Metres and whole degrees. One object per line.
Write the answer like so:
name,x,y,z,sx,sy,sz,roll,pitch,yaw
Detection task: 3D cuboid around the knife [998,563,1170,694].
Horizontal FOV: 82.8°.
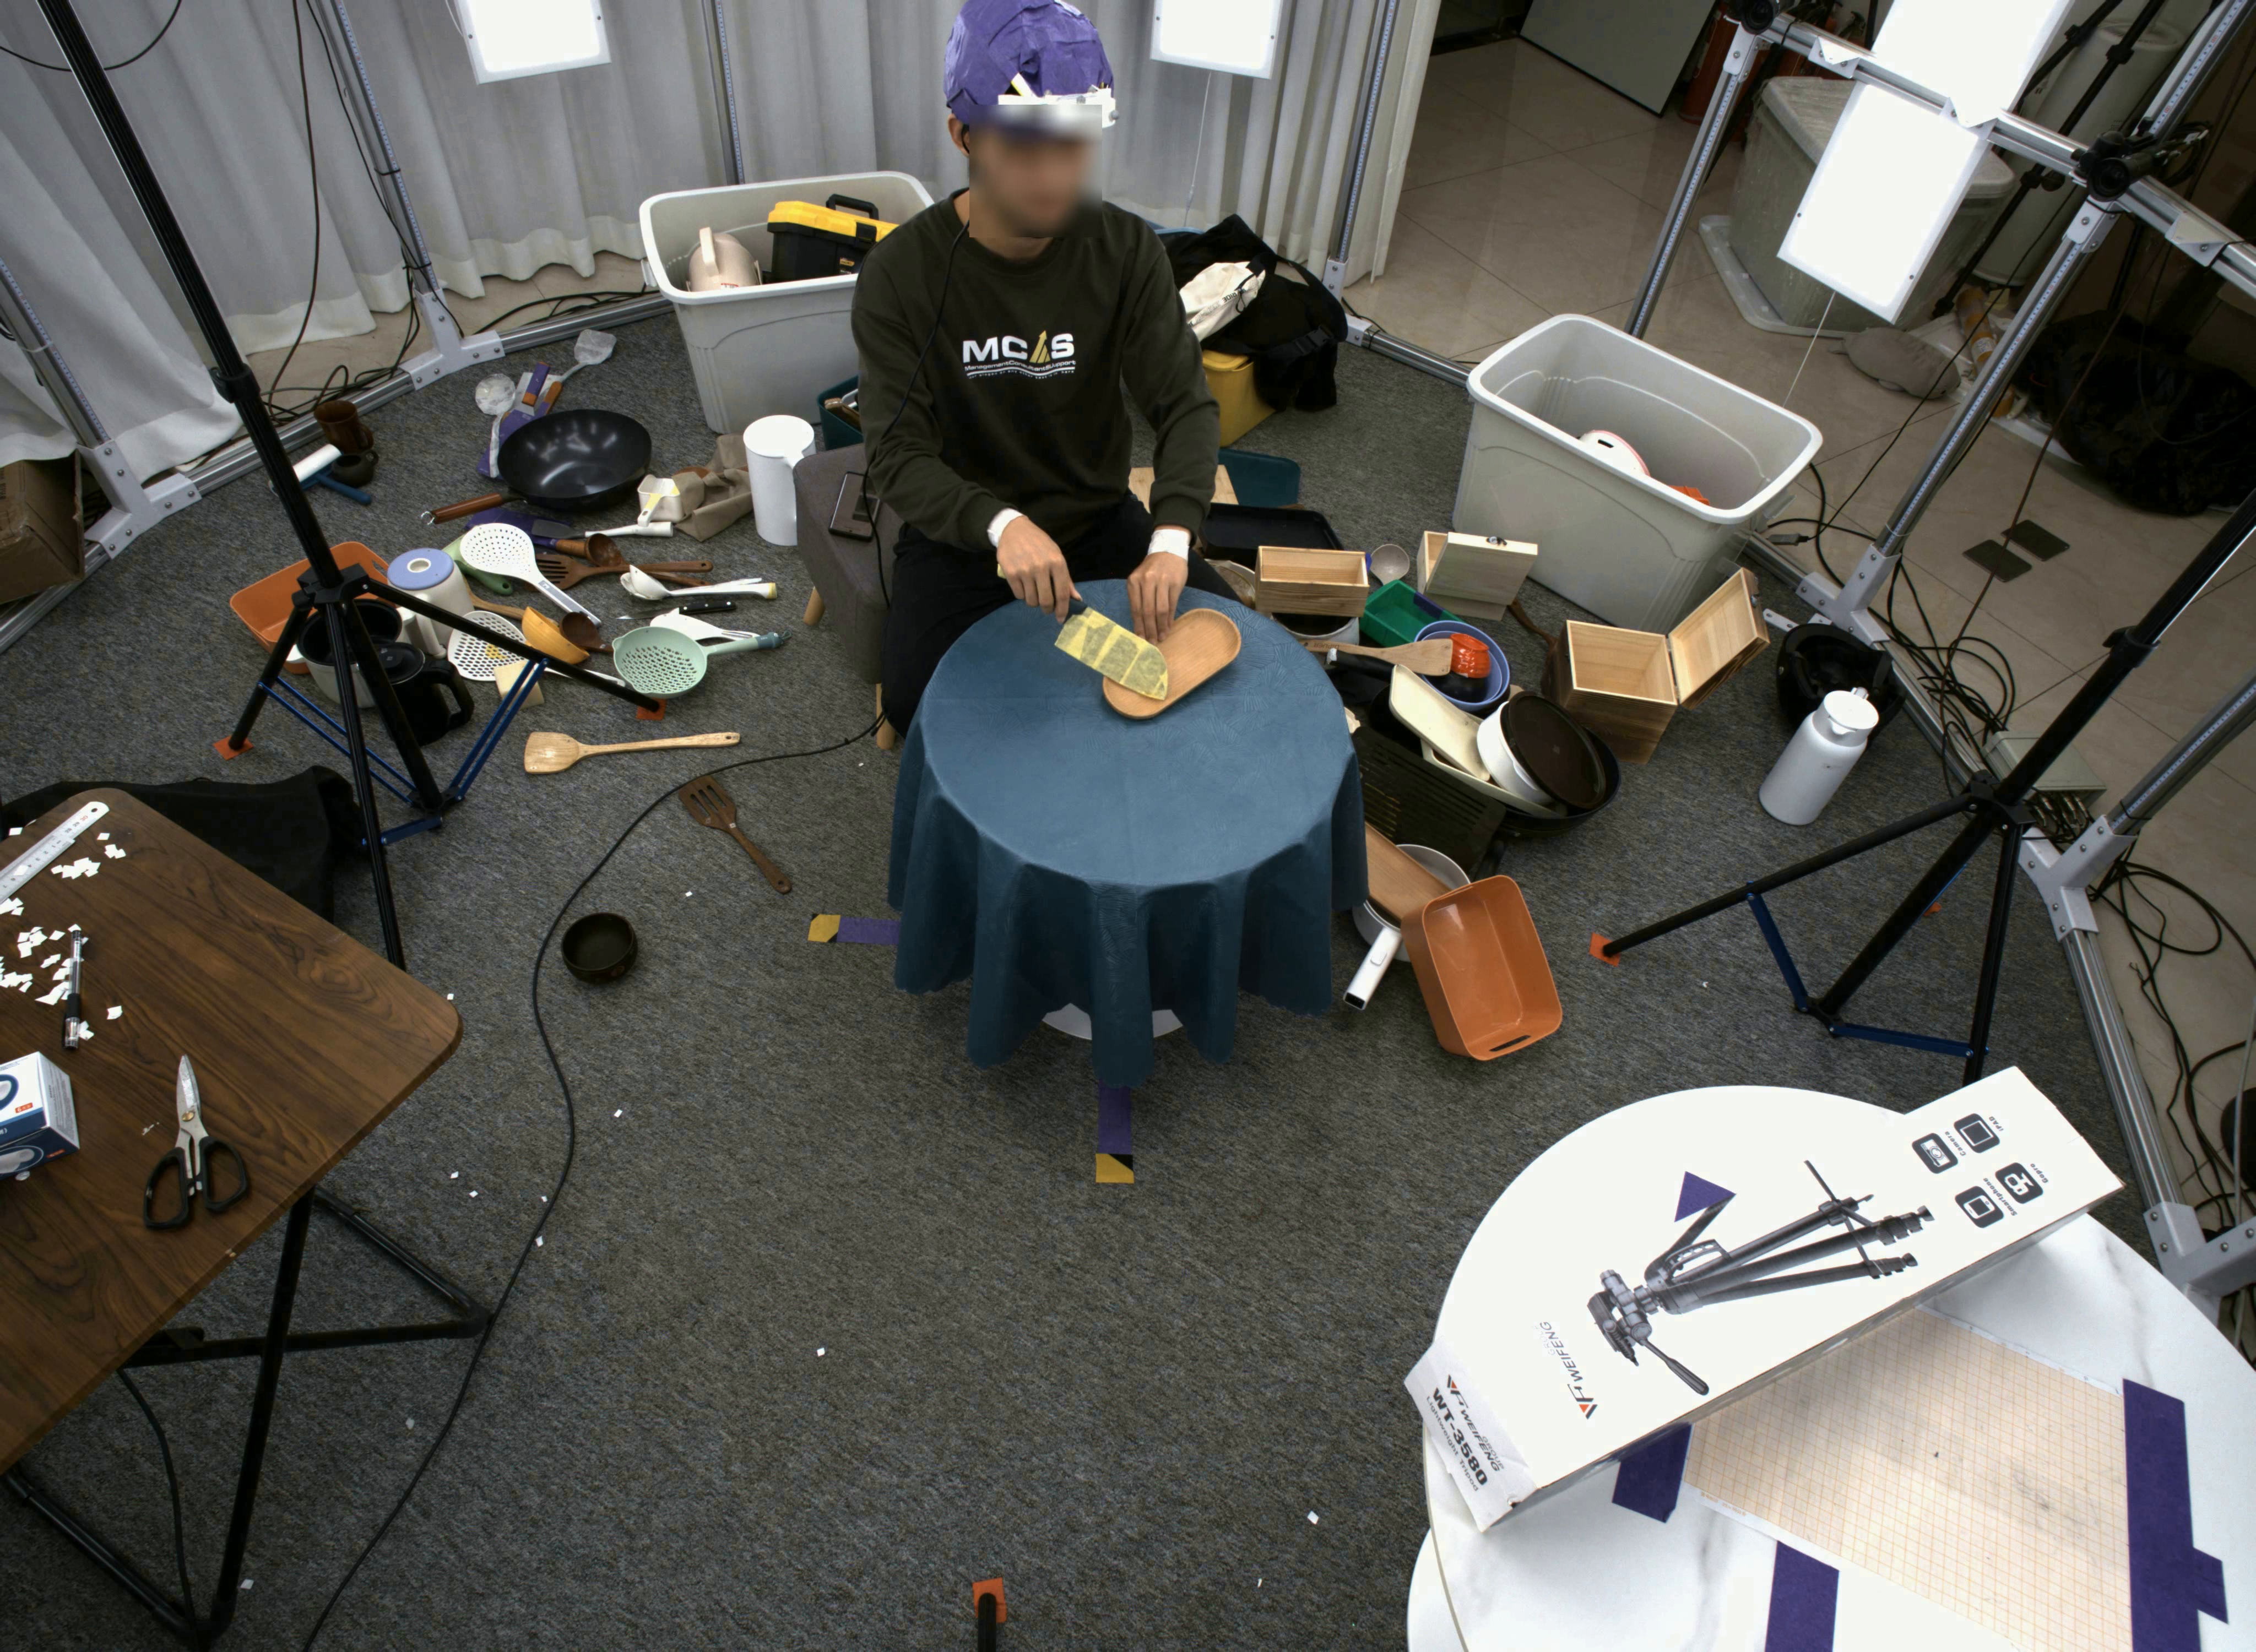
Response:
knife,-0.063,-0.273,1.790,0.289,0.080,0.027,33,18,-3

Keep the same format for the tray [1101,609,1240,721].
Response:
tray,0.062,-0.231,1.835,0.233,0.020,0.103,-37,73,-20
